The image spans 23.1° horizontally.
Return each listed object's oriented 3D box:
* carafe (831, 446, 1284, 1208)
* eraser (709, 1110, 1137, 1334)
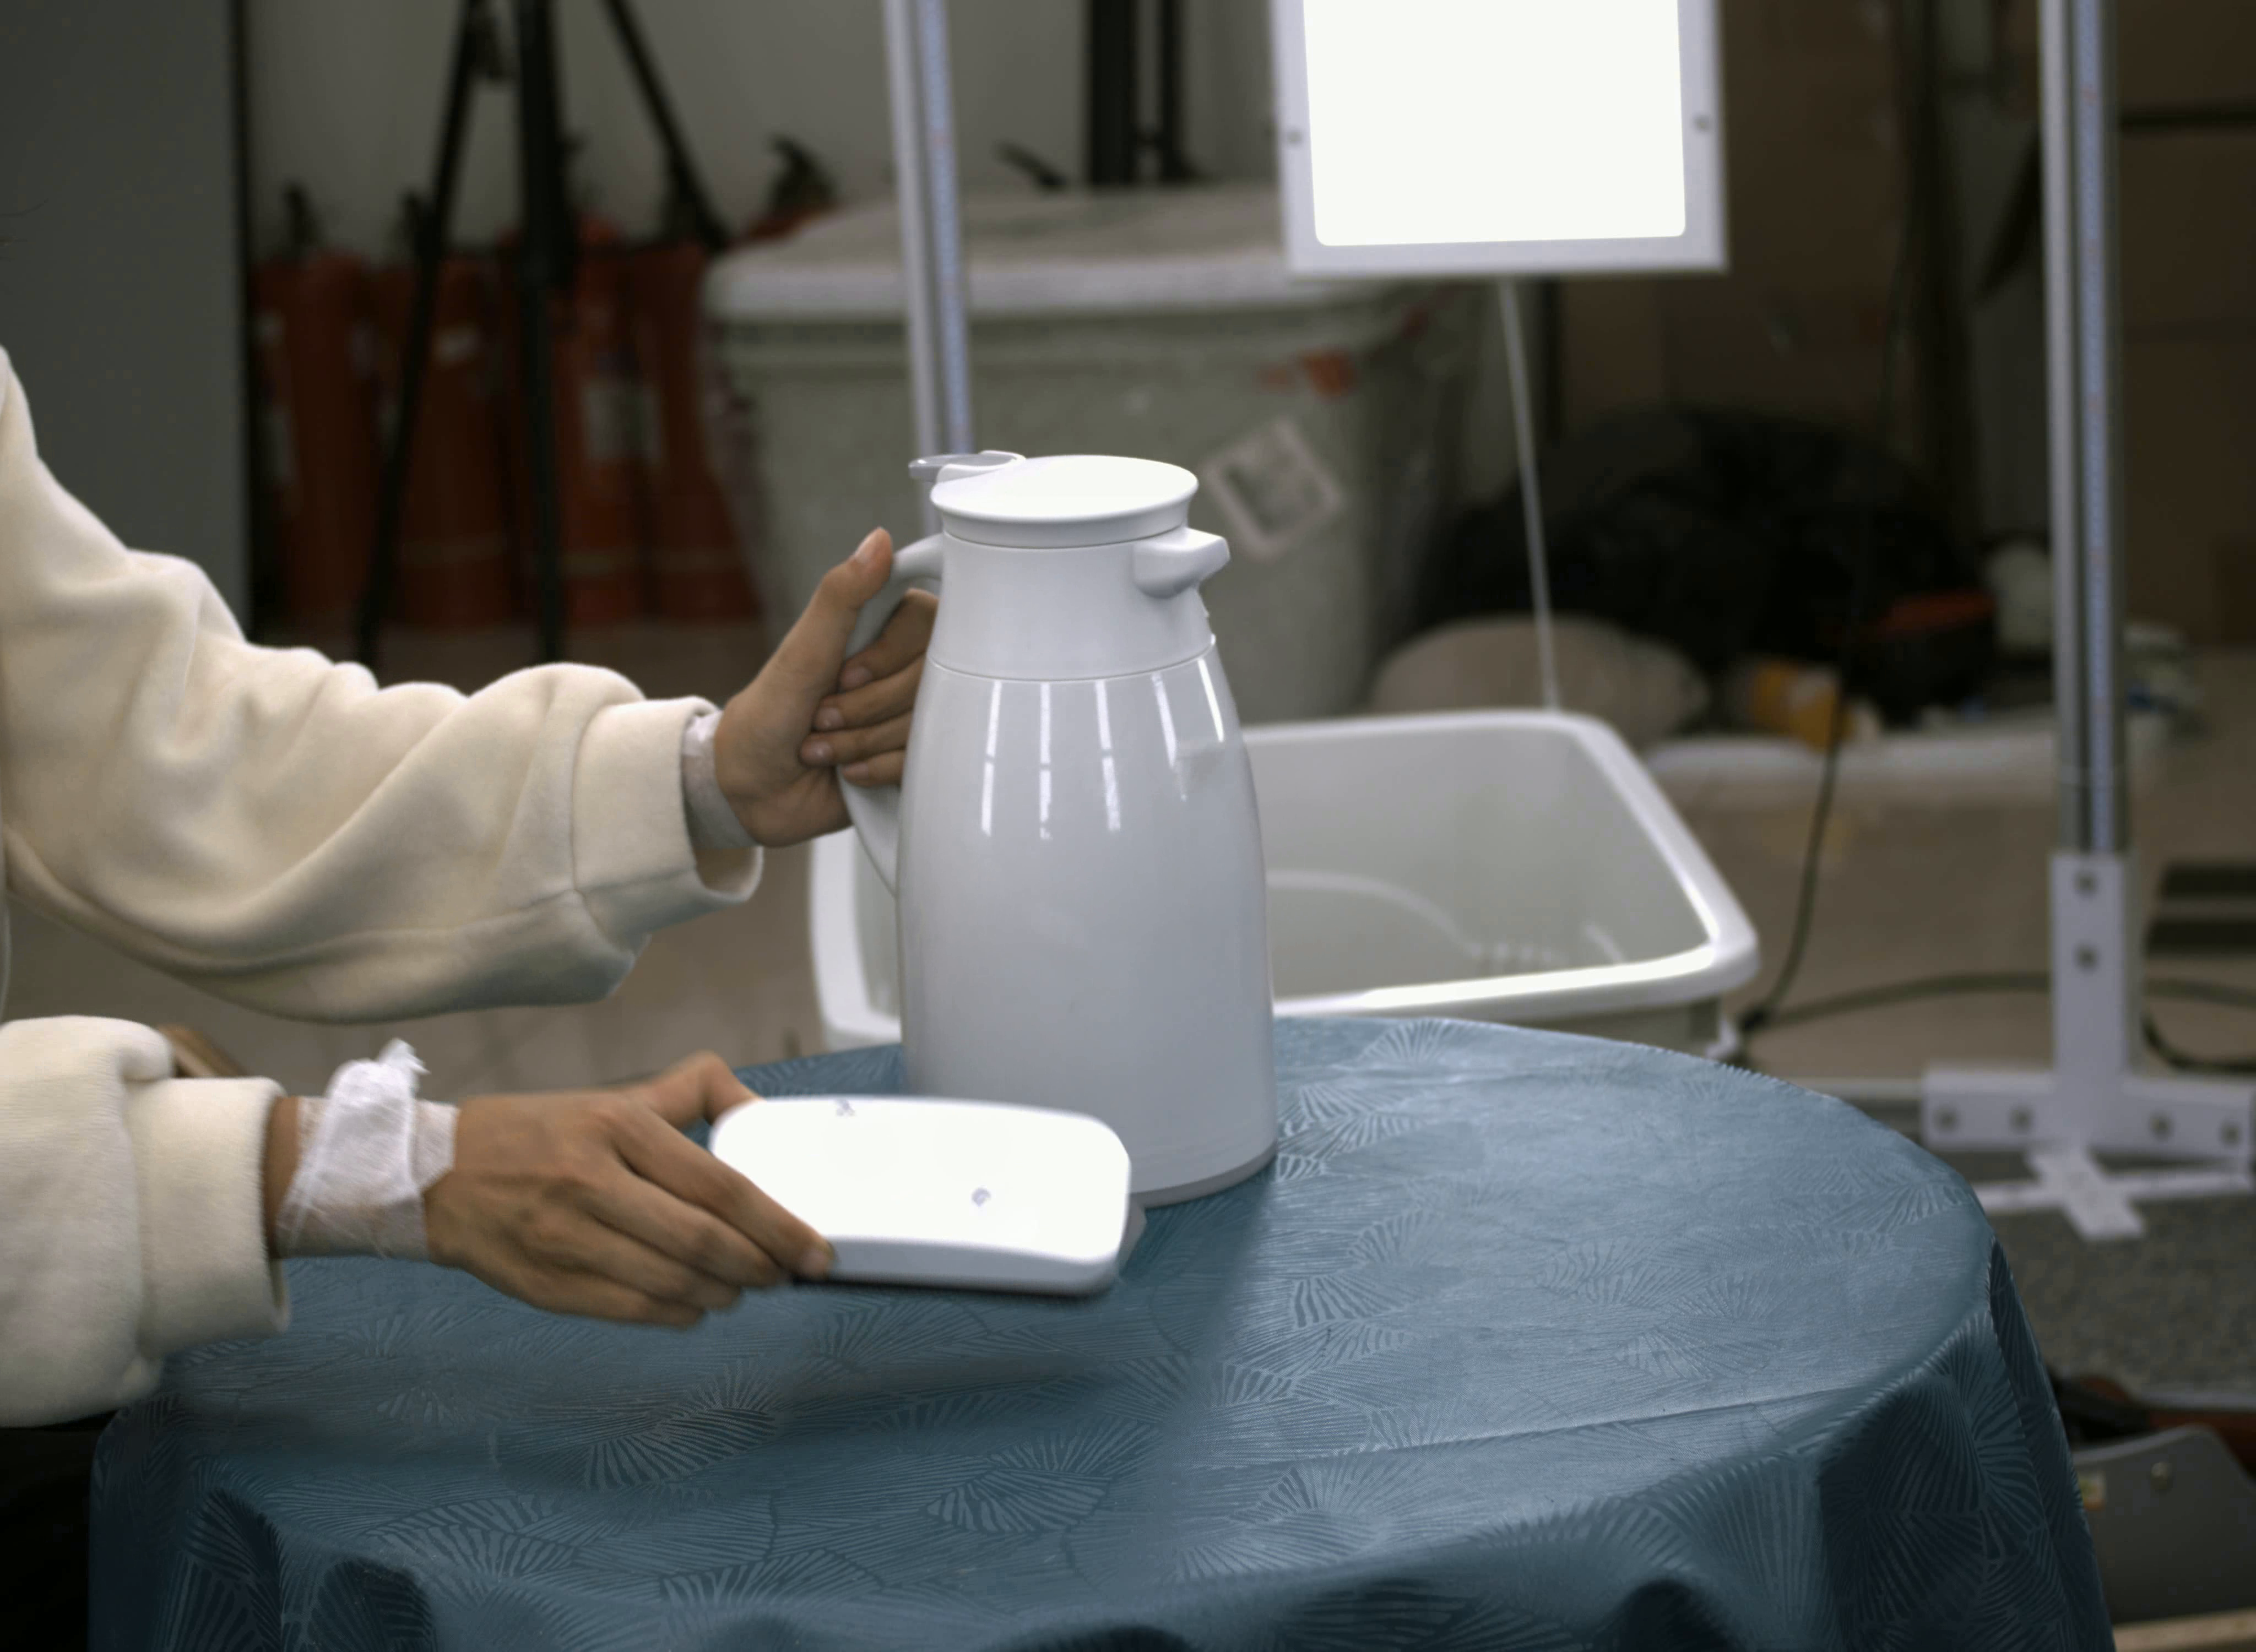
[{"bbox_3d":[-0.032,-0.007,1.914,0.171,0.249,0.129,8,19,37],"label":"carafe"},{"bbox_3d":[-0.063,0.123,1.713,0.131,0.035,0.063,5,39,4],"label":"eraser"}]
